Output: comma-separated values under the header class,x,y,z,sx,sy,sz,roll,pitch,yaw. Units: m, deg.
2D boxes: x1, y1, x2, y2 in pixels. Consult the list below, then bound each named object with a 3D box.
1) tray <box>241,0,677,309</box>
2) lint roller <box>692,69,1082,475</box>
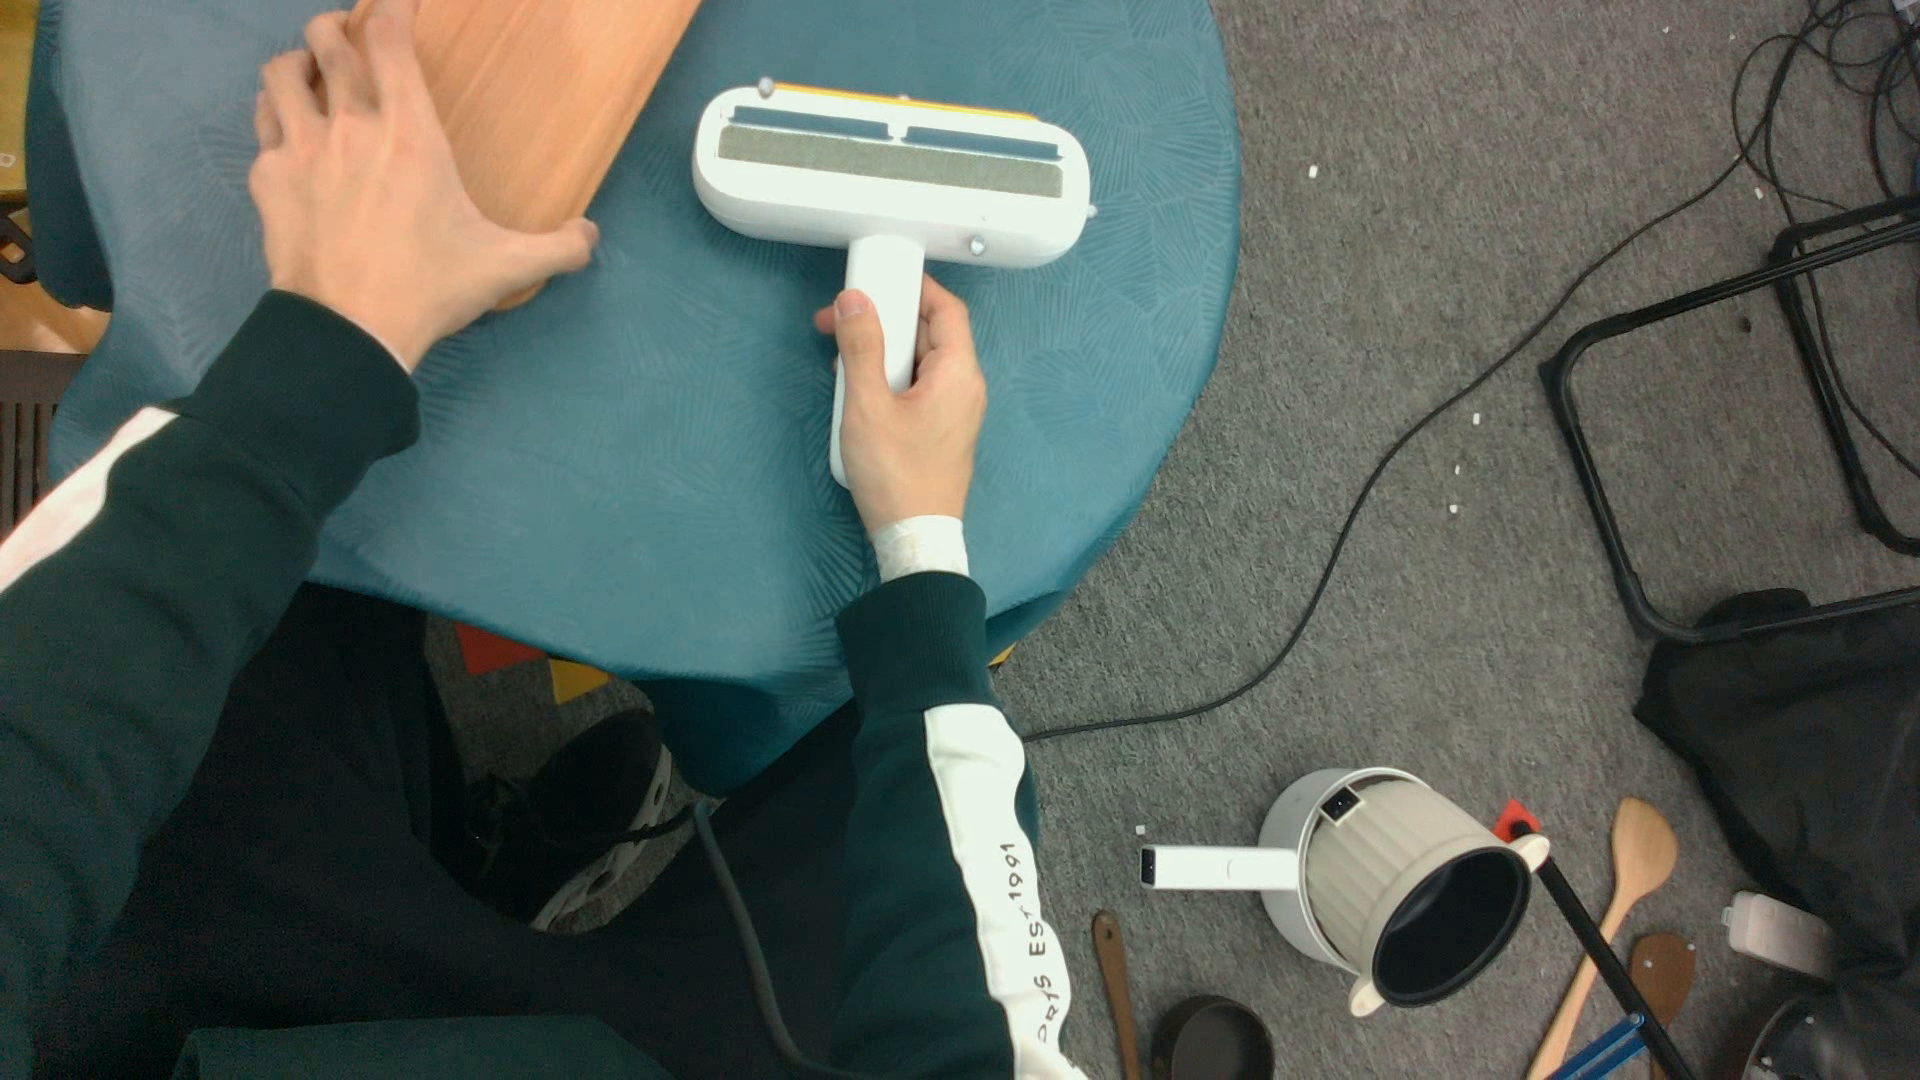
class,x,y,z,sx,sy,sz,roll,pitch,yaw
tray,-0.217,-0.234,0.639,0.130,0.023,0.251,27,78,-11
lint roller,-0.047,-0.126,0.697,0.193,0.074,0.192,11,95,-6
